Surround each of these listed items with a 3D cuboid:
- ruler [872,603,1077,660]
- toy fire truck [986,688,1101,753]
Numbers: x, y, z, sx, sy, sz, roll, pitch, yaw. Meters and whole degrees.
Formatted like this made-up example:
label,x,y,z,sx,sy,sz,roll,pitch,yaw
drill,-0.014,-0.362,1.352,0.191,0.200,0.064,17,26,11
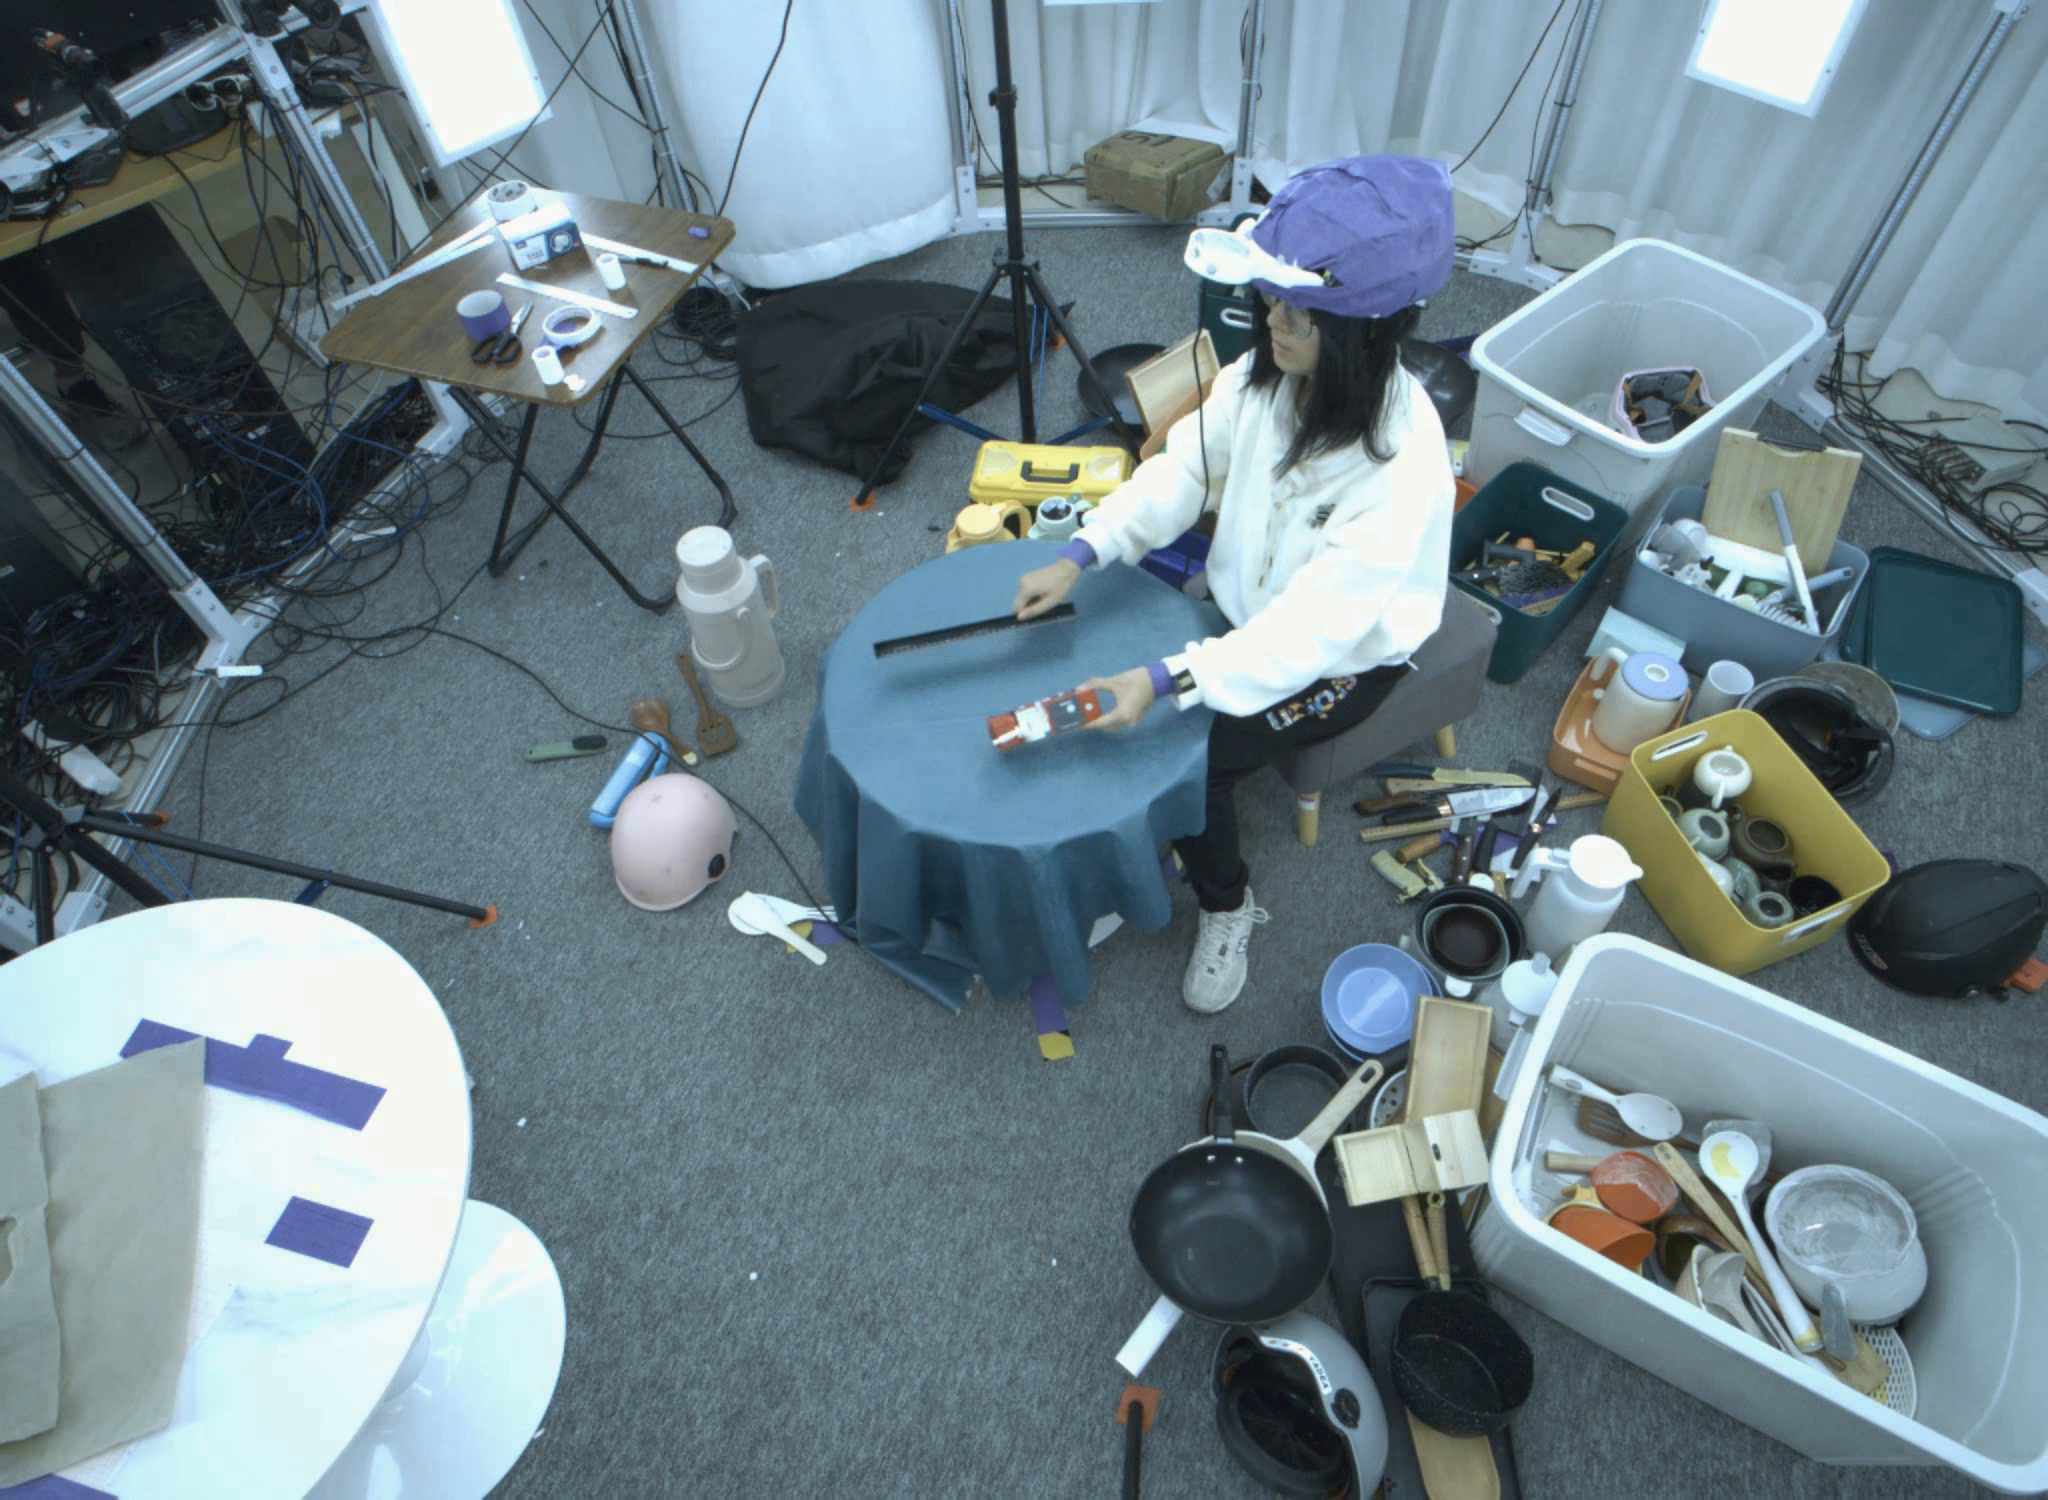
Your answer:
label,x,y,z,sx,sy,sz,roll,pitch,yaw
ruler,-0.075,-0.180,1.849,0.314,0.017,0.038,-12,30,-6
toy fire truck,0.028,-0.042,1.754,0.168,0.054,0.069,-19,12,-6
